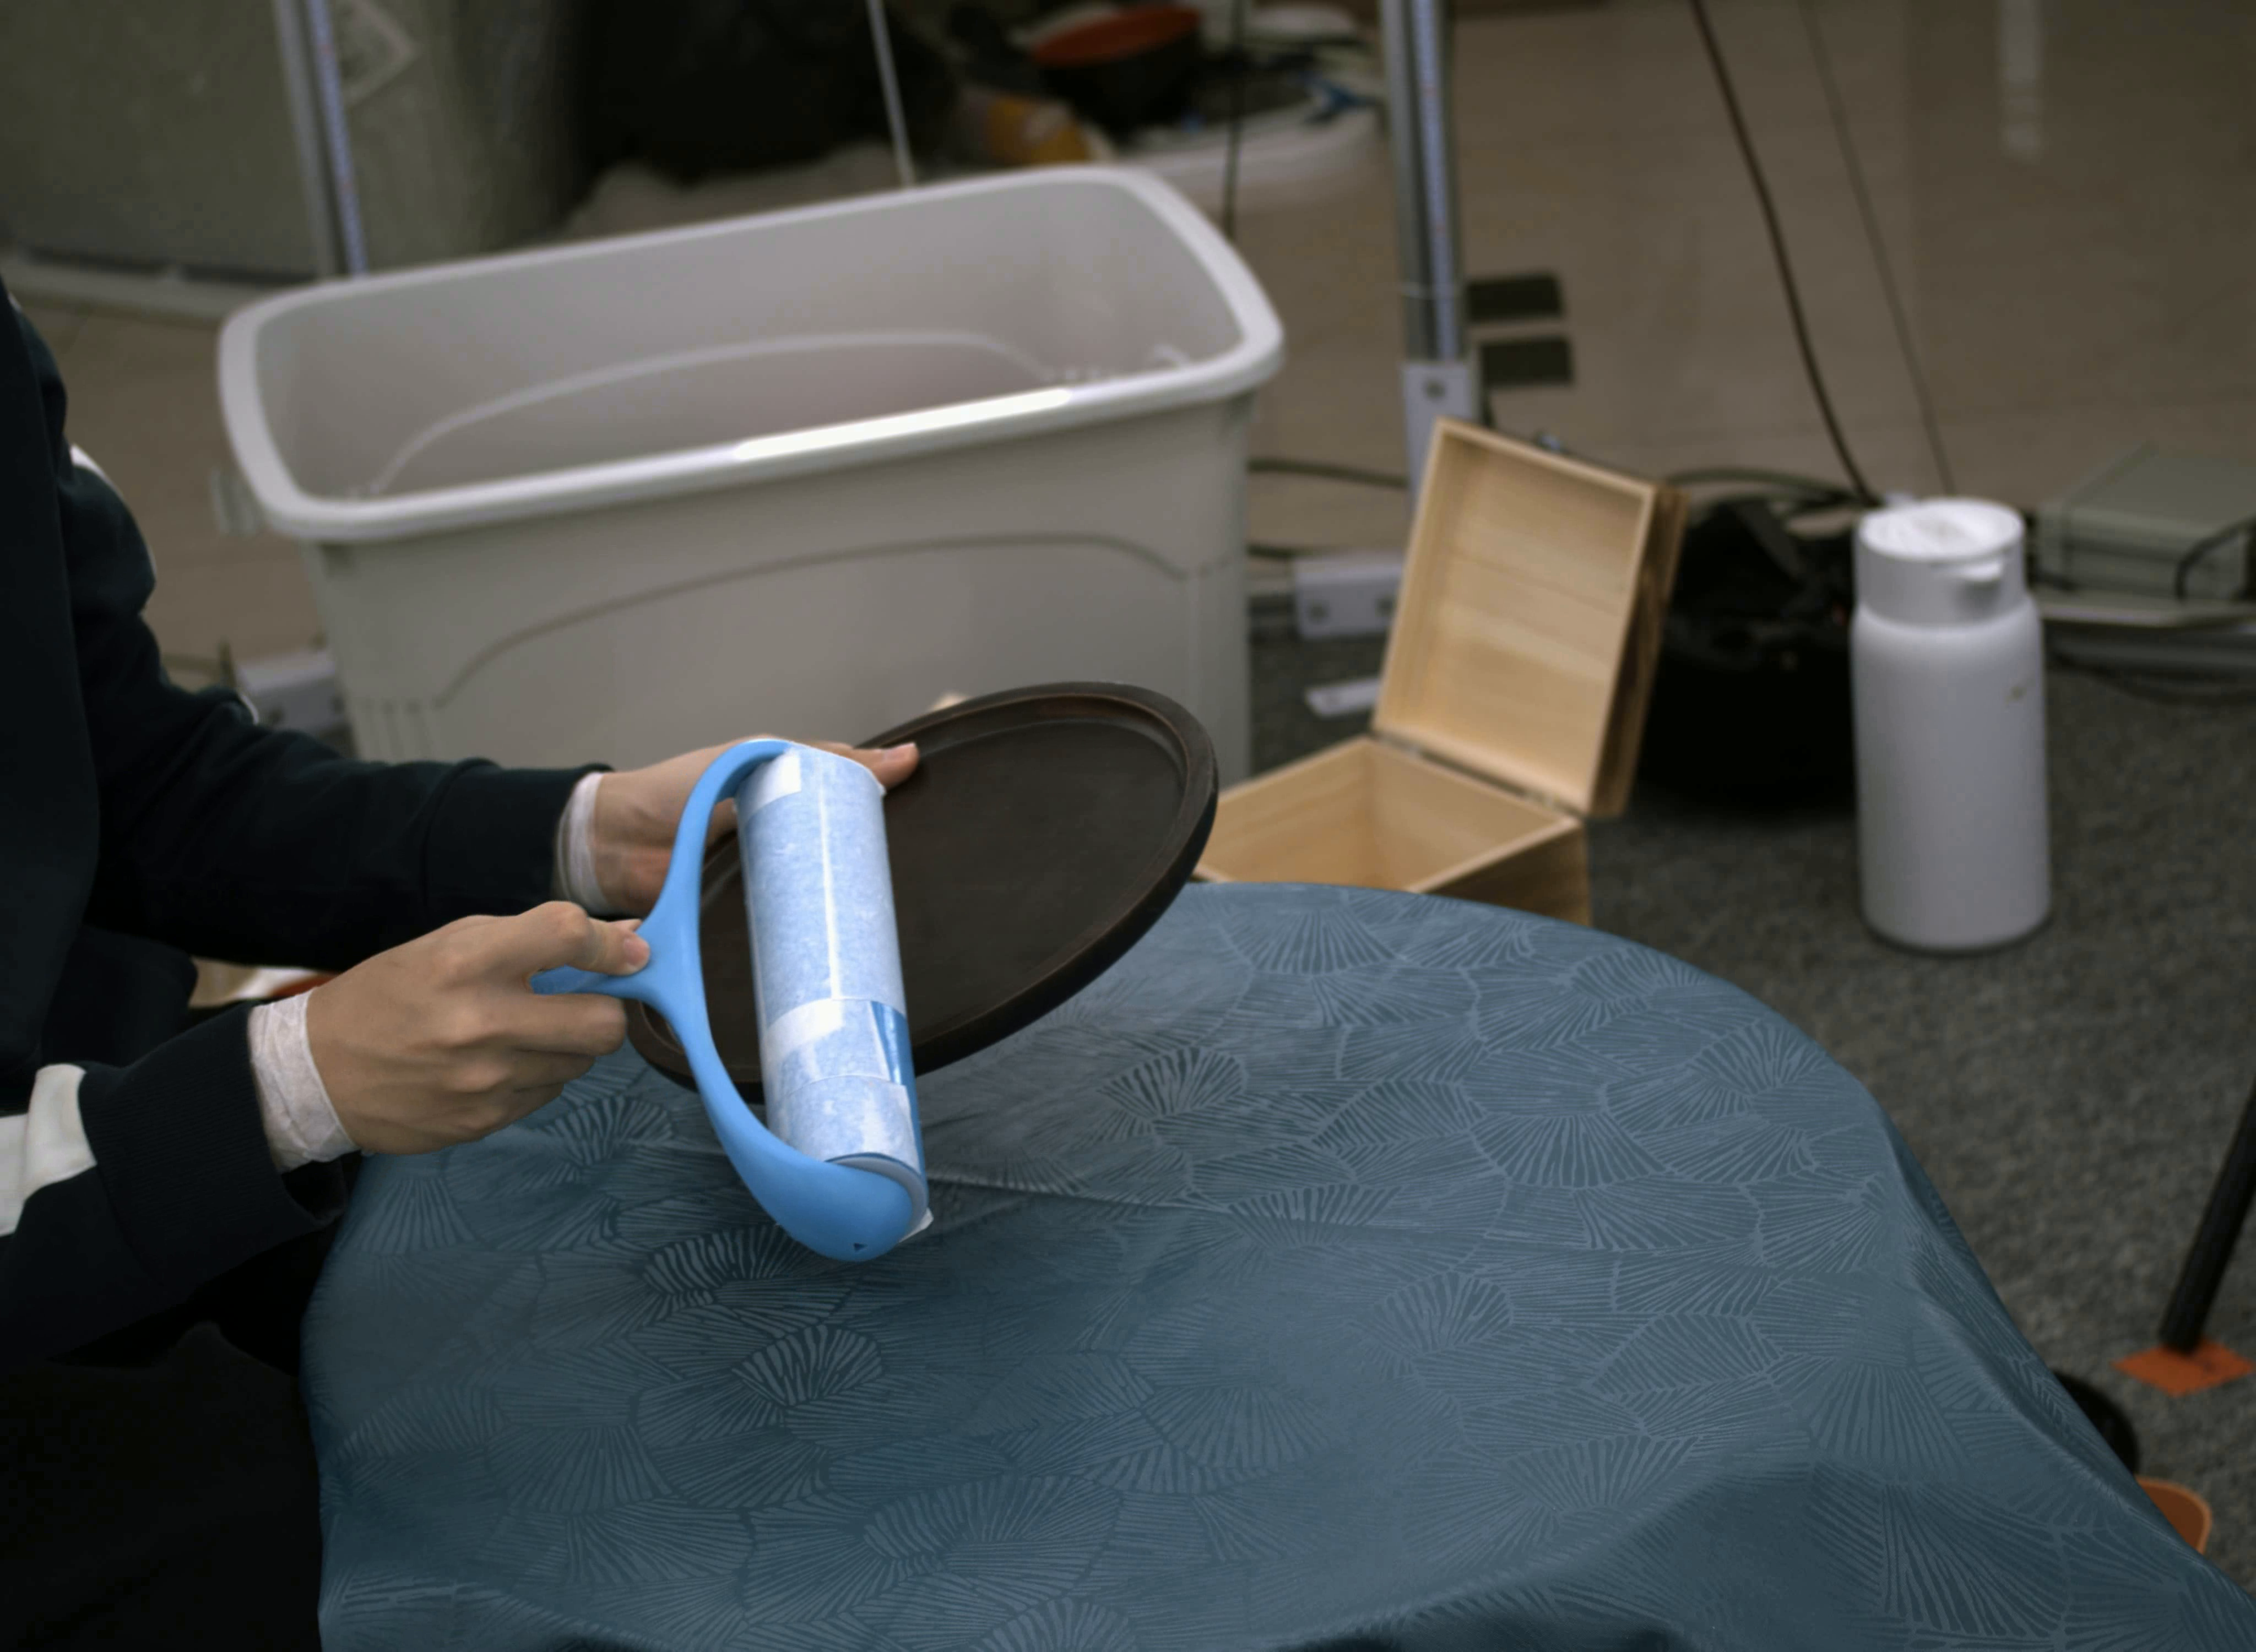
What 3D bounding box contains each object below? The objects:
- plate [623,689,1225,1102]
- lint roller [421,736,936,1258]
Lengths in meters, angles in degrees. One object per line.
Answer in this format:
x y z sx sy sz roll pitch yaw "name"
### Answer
-0.077 0.027 2.180 0.255 0.029 0.250 -20 28 11 "plate"
-0.165 0.068 2.012 0.180 0.069 0.225 -9 51 -5 "lint roller"
